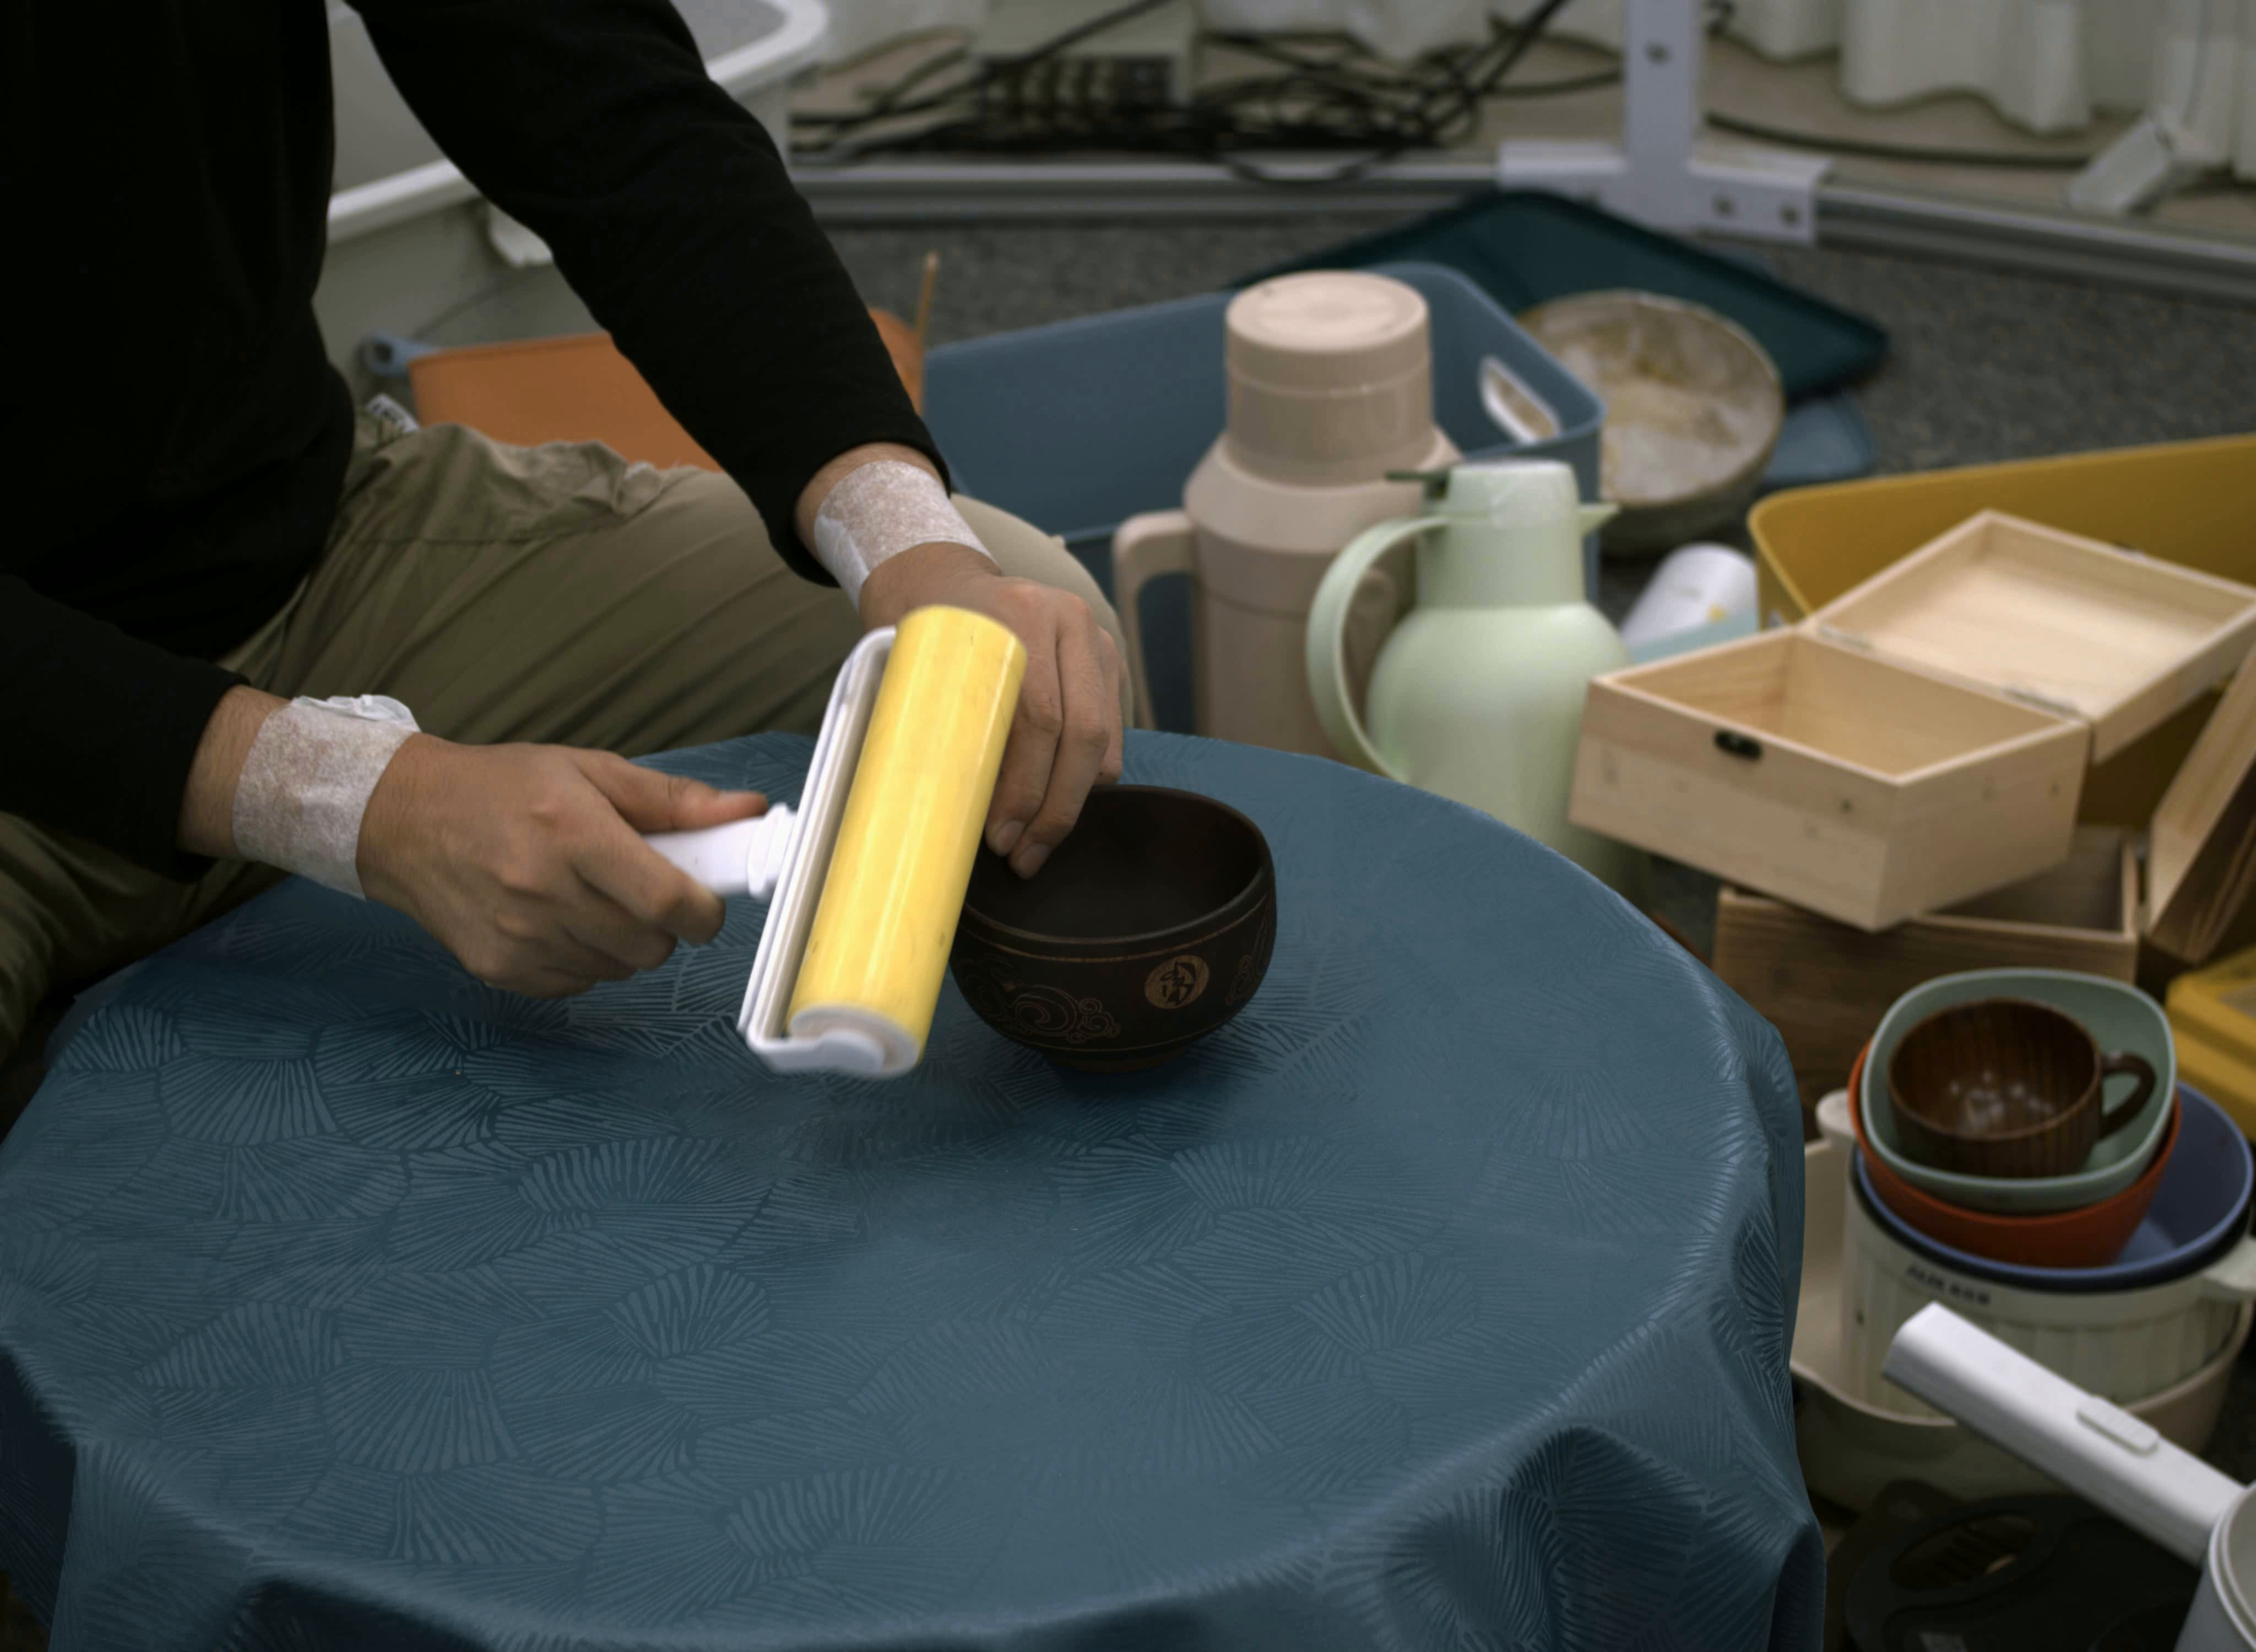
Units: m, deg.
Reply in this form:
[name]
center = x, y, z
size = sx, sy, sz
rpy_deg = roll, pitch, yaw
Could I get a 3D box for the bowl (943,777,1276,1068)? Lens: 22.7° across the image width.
[bowl]
center = -0.007, 0.040, 1.939
size = 0.117, 0.069, 0.120
rpy_deg = -1, 27, 1

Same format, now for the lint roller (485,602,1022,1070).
[lint roller]
center = -0.140, 0.006, 1.923
size = 0.190, 0.051, 0.178
rpy_deg = -2, 53, 19
